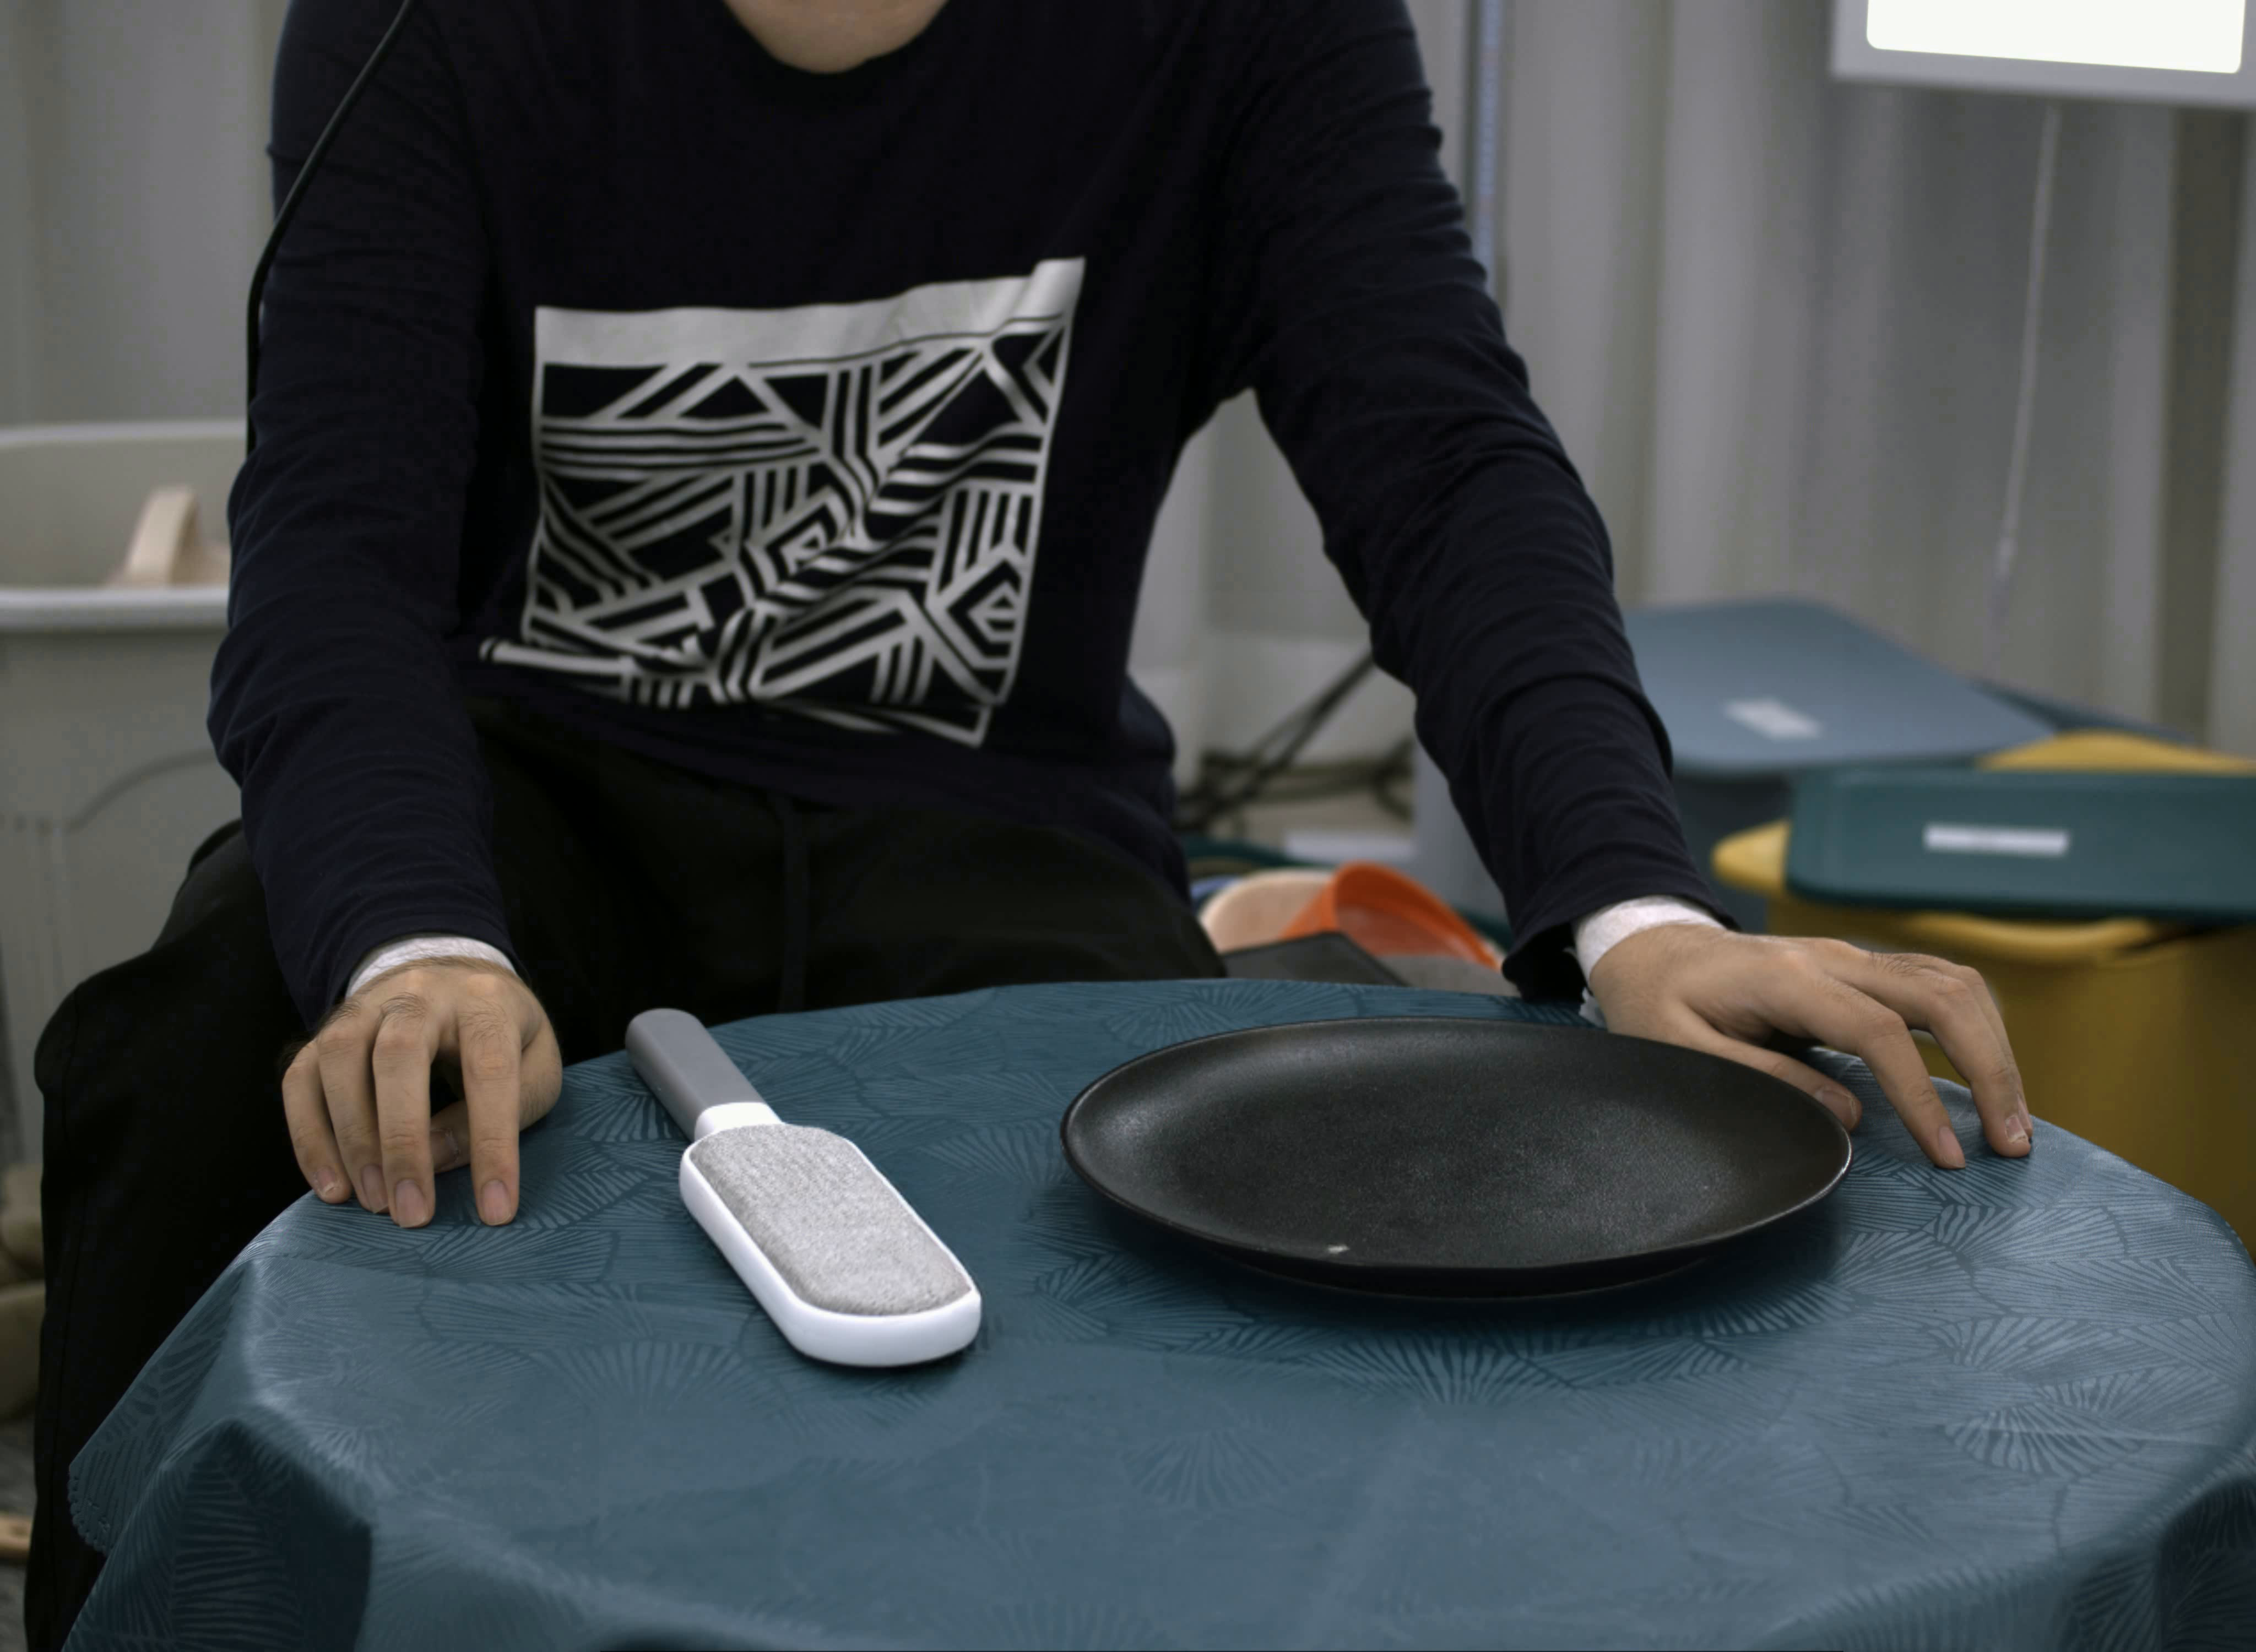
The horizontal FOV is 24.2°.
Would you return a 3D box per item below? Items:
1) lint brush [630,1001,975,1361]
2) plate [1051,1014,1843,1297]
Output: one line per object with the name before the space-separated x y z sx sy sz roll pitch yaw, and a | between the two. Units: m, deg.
lint brush | -0.107 0.103 1.604 0.060 0.021 0.305 -9 17 -16
plate | 0.097 0.103 1.618 0.243 0.023 0.243 1 15 0
